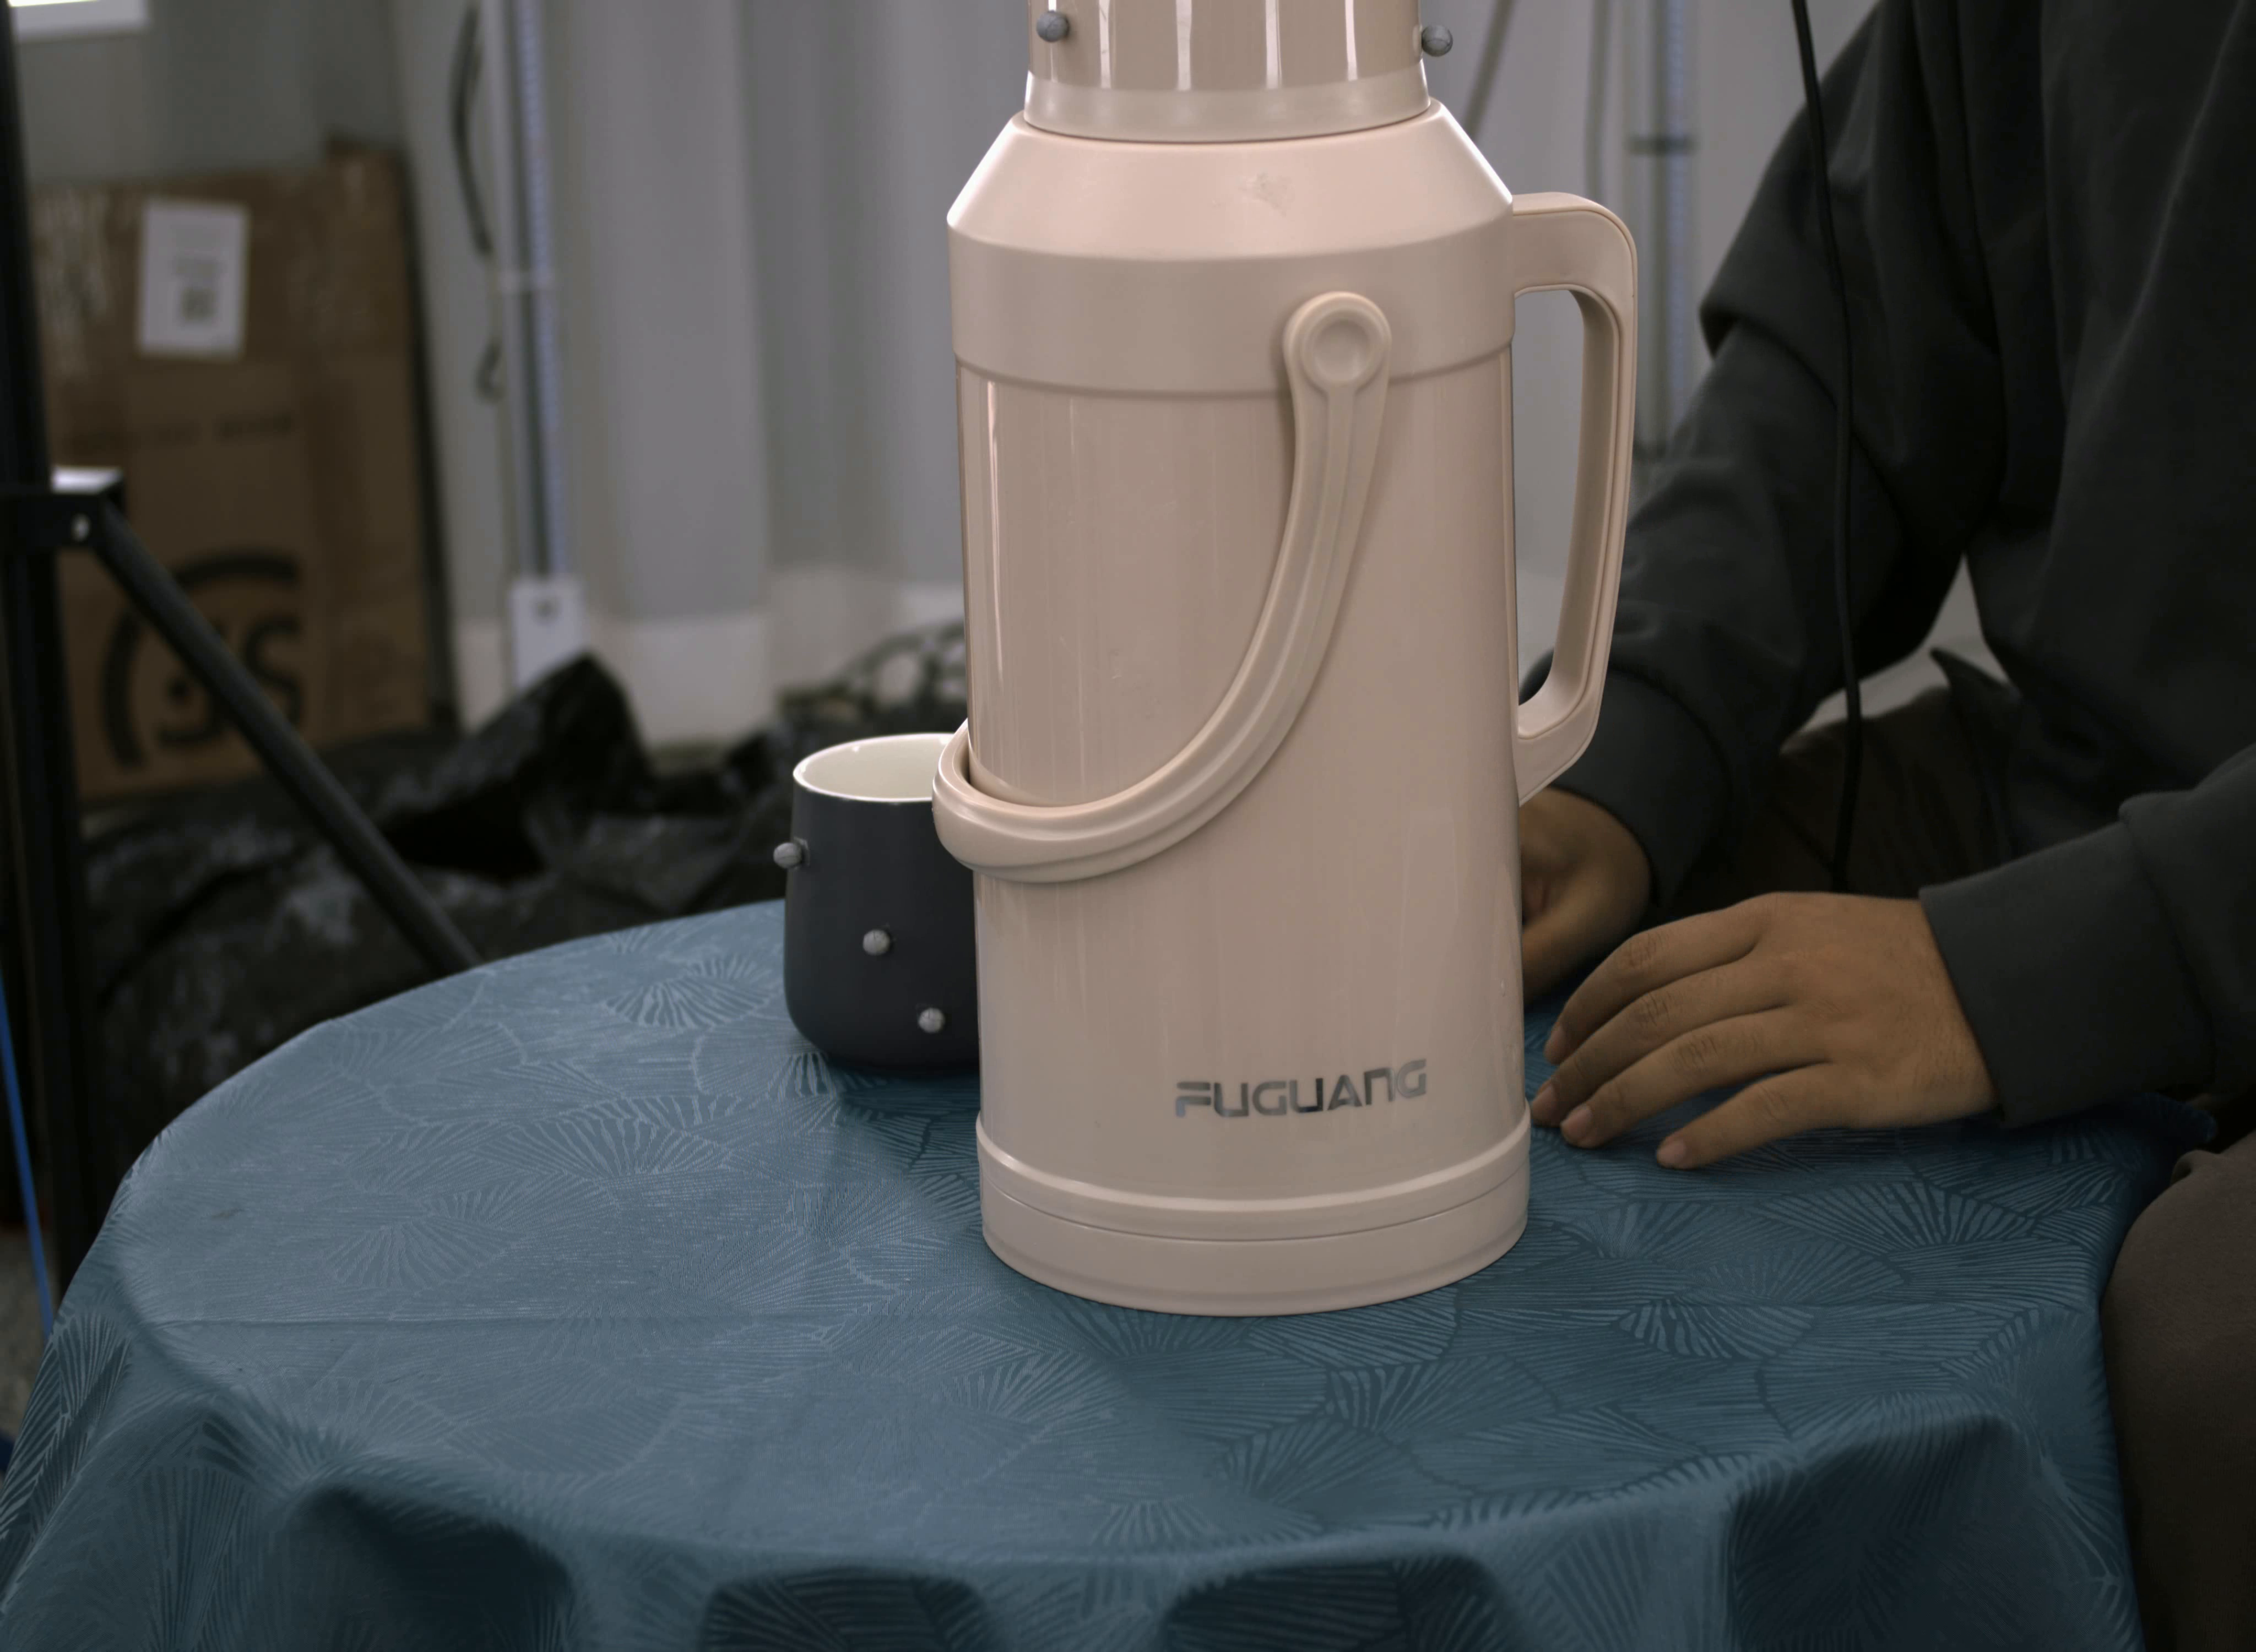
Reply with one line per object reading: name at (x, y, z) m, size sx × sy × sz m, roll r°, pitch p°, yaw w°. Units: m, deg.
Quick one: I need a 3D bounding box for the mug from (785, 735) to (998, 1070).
mug at (-0.050, 0.022, 1.700) m, size 0.121 × 0.090 × 0.095 m, roll -9°, pitch 17°, yaw -23°

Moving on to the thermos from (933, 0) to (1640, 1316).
thermos at (0.045, -0.079, 1.485) m, size 0.203 × 0.406 × 0.178 m, roll -7°, pitch 15°, yaw -16°
